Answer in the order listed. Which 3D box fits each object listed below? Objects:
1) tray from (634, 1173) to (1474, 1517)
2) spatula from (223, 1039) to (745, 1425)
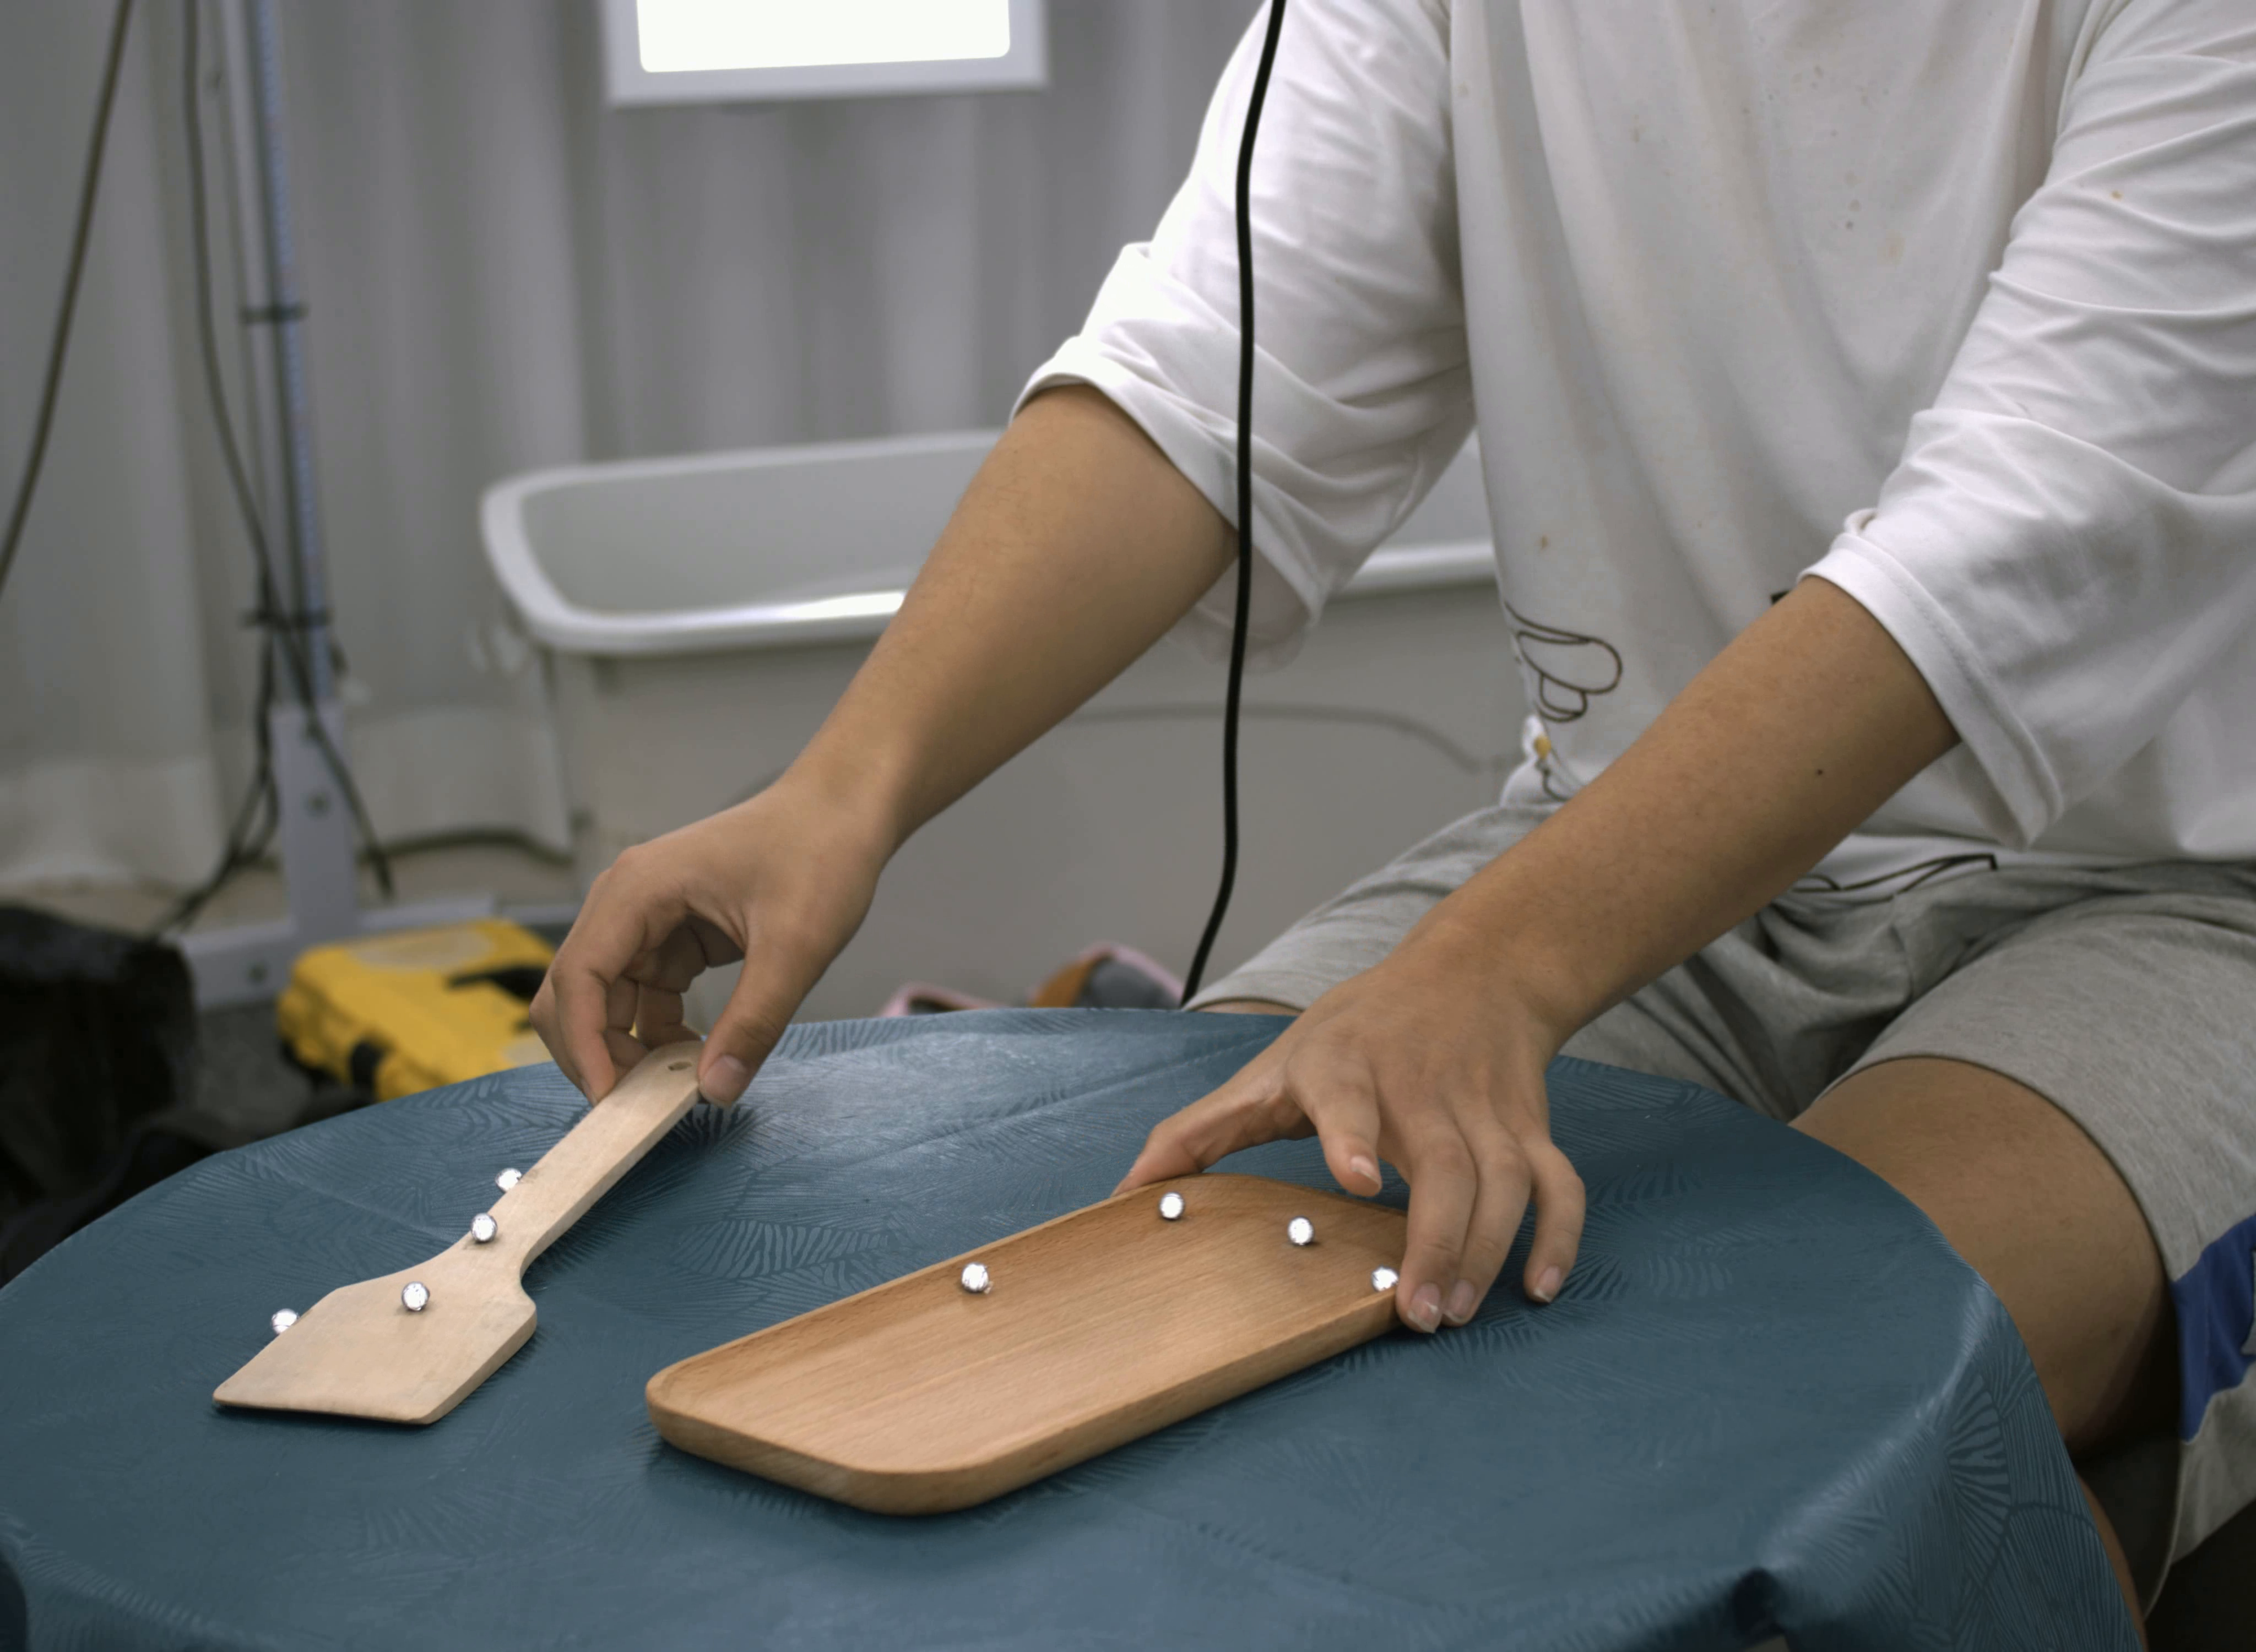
[{"bbox_3d":[-0.018,0.147,1.570,0.131,0.023,0.250,8,19,44],"label":"tray"},{"bbox_3d":[-0.184,0.121,1.682,0.072,0.010,0.294,2,20,18],"label":"spatula"}]
